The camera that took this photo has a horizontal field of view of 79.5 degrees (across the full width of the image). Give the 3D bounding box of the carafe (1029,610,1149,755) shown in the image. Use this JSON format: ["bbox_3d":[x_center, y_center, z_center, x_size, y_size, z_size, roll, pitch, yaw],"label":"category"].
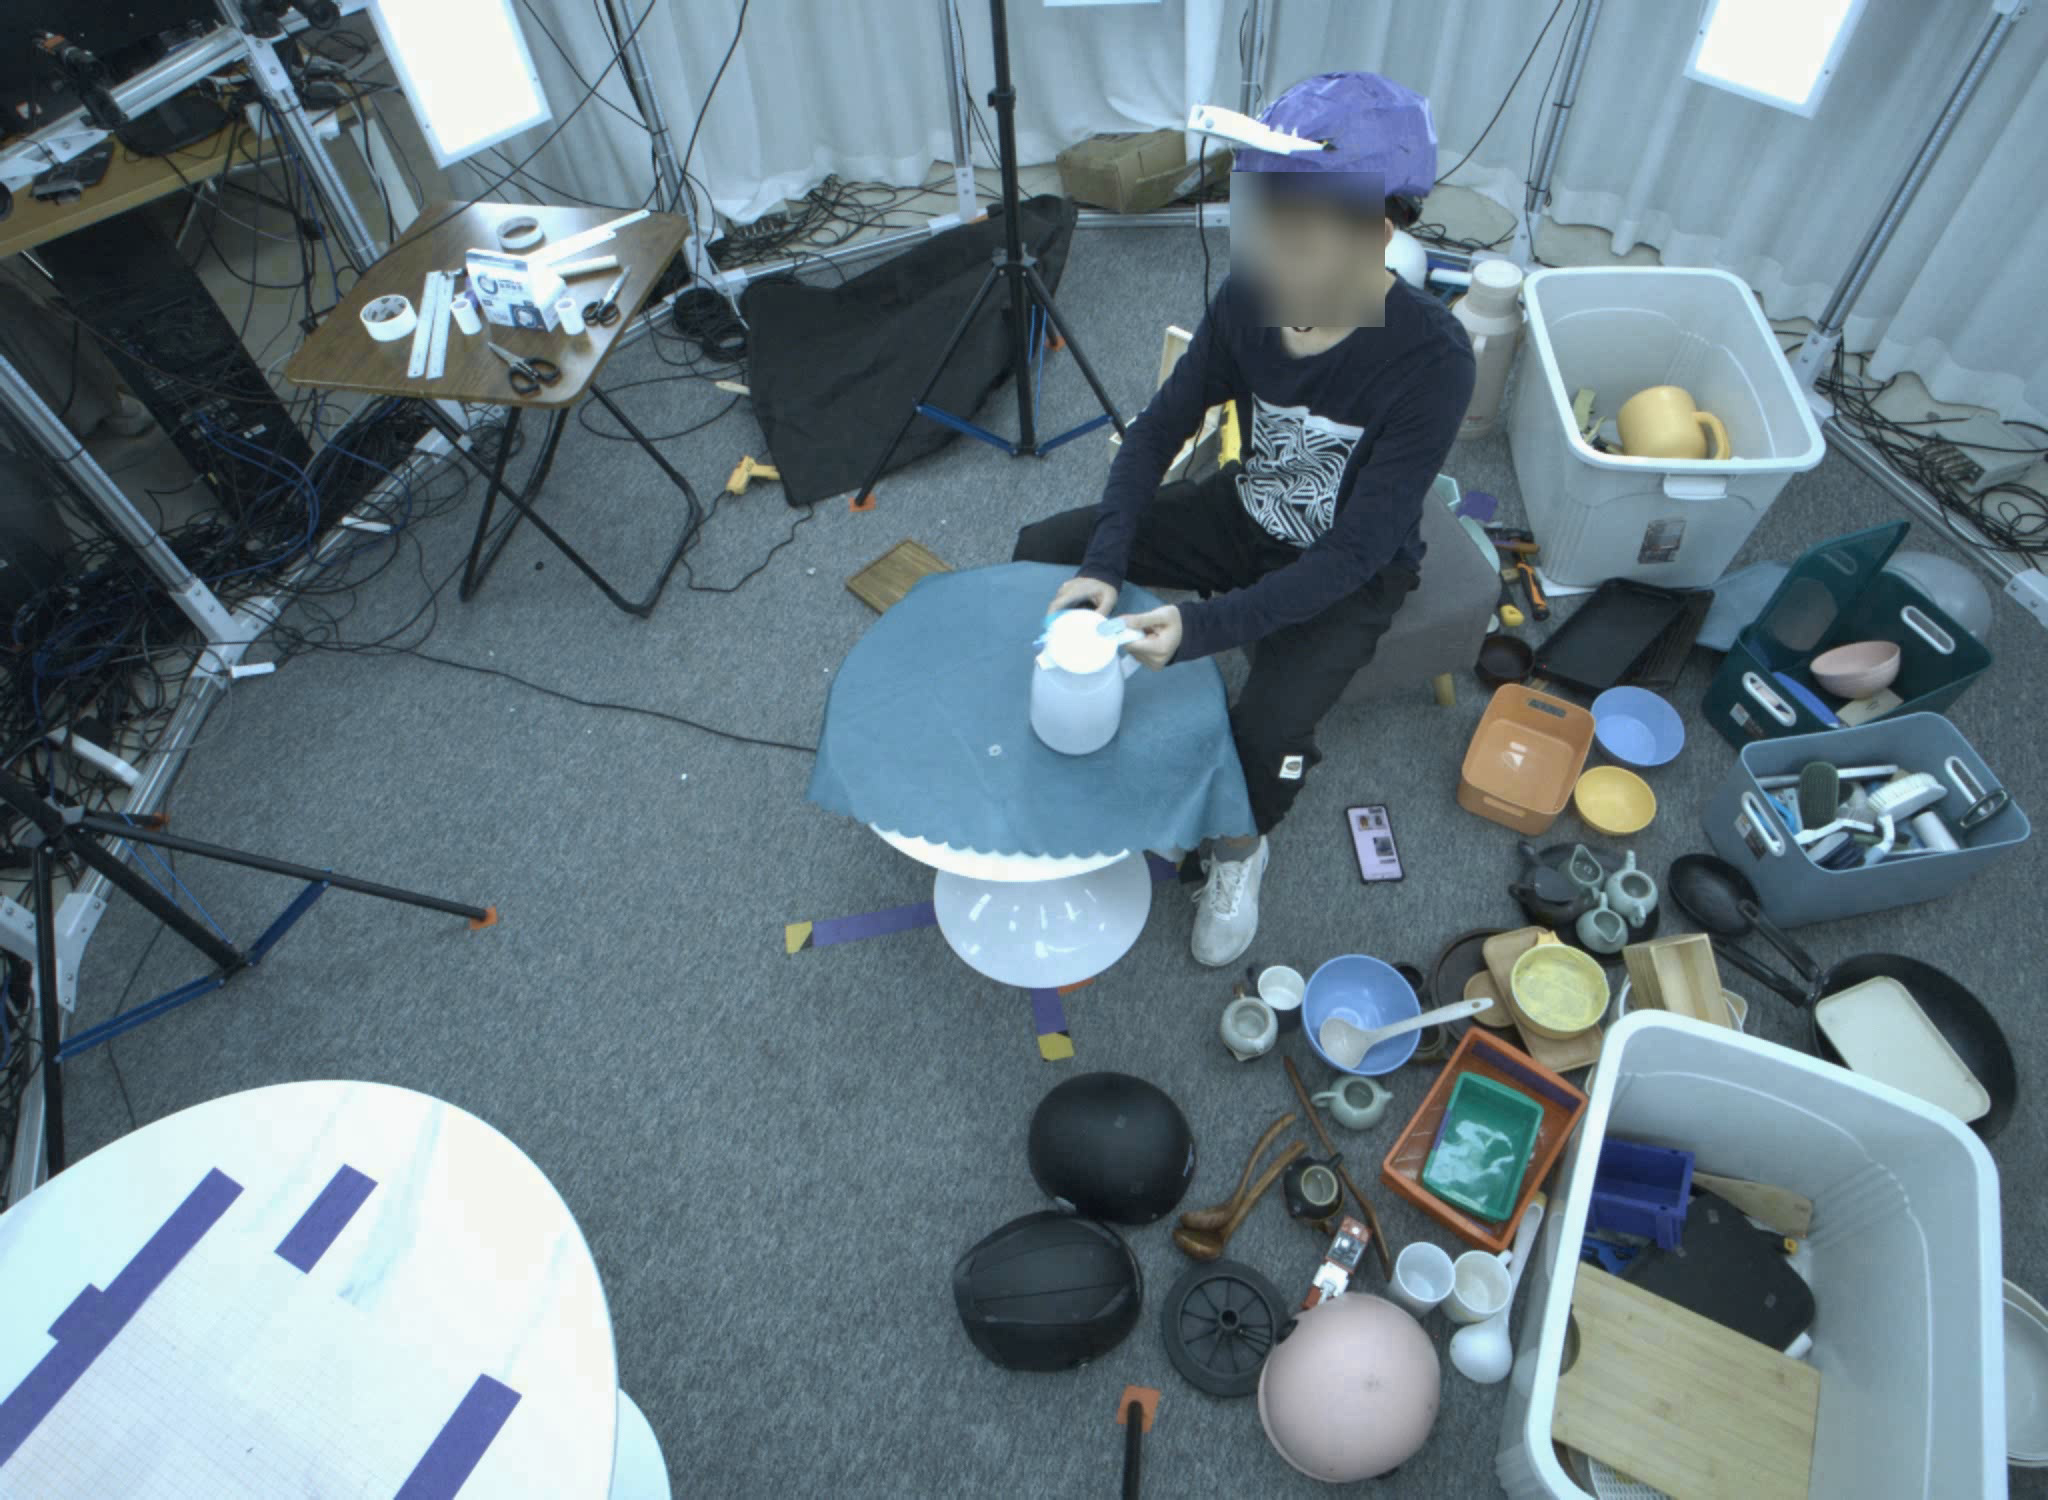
[{"bbox_3d":[0.090,-0.107,1.681,0.169,0.250,0.131,-26,71,-11],"label":"carafe"}]

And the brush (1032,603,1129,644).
[{"bbox_3d":[0.080,-0.179,1.753,0.147,0.082,0.056,-9,86,-48],"label":"brush"}]
